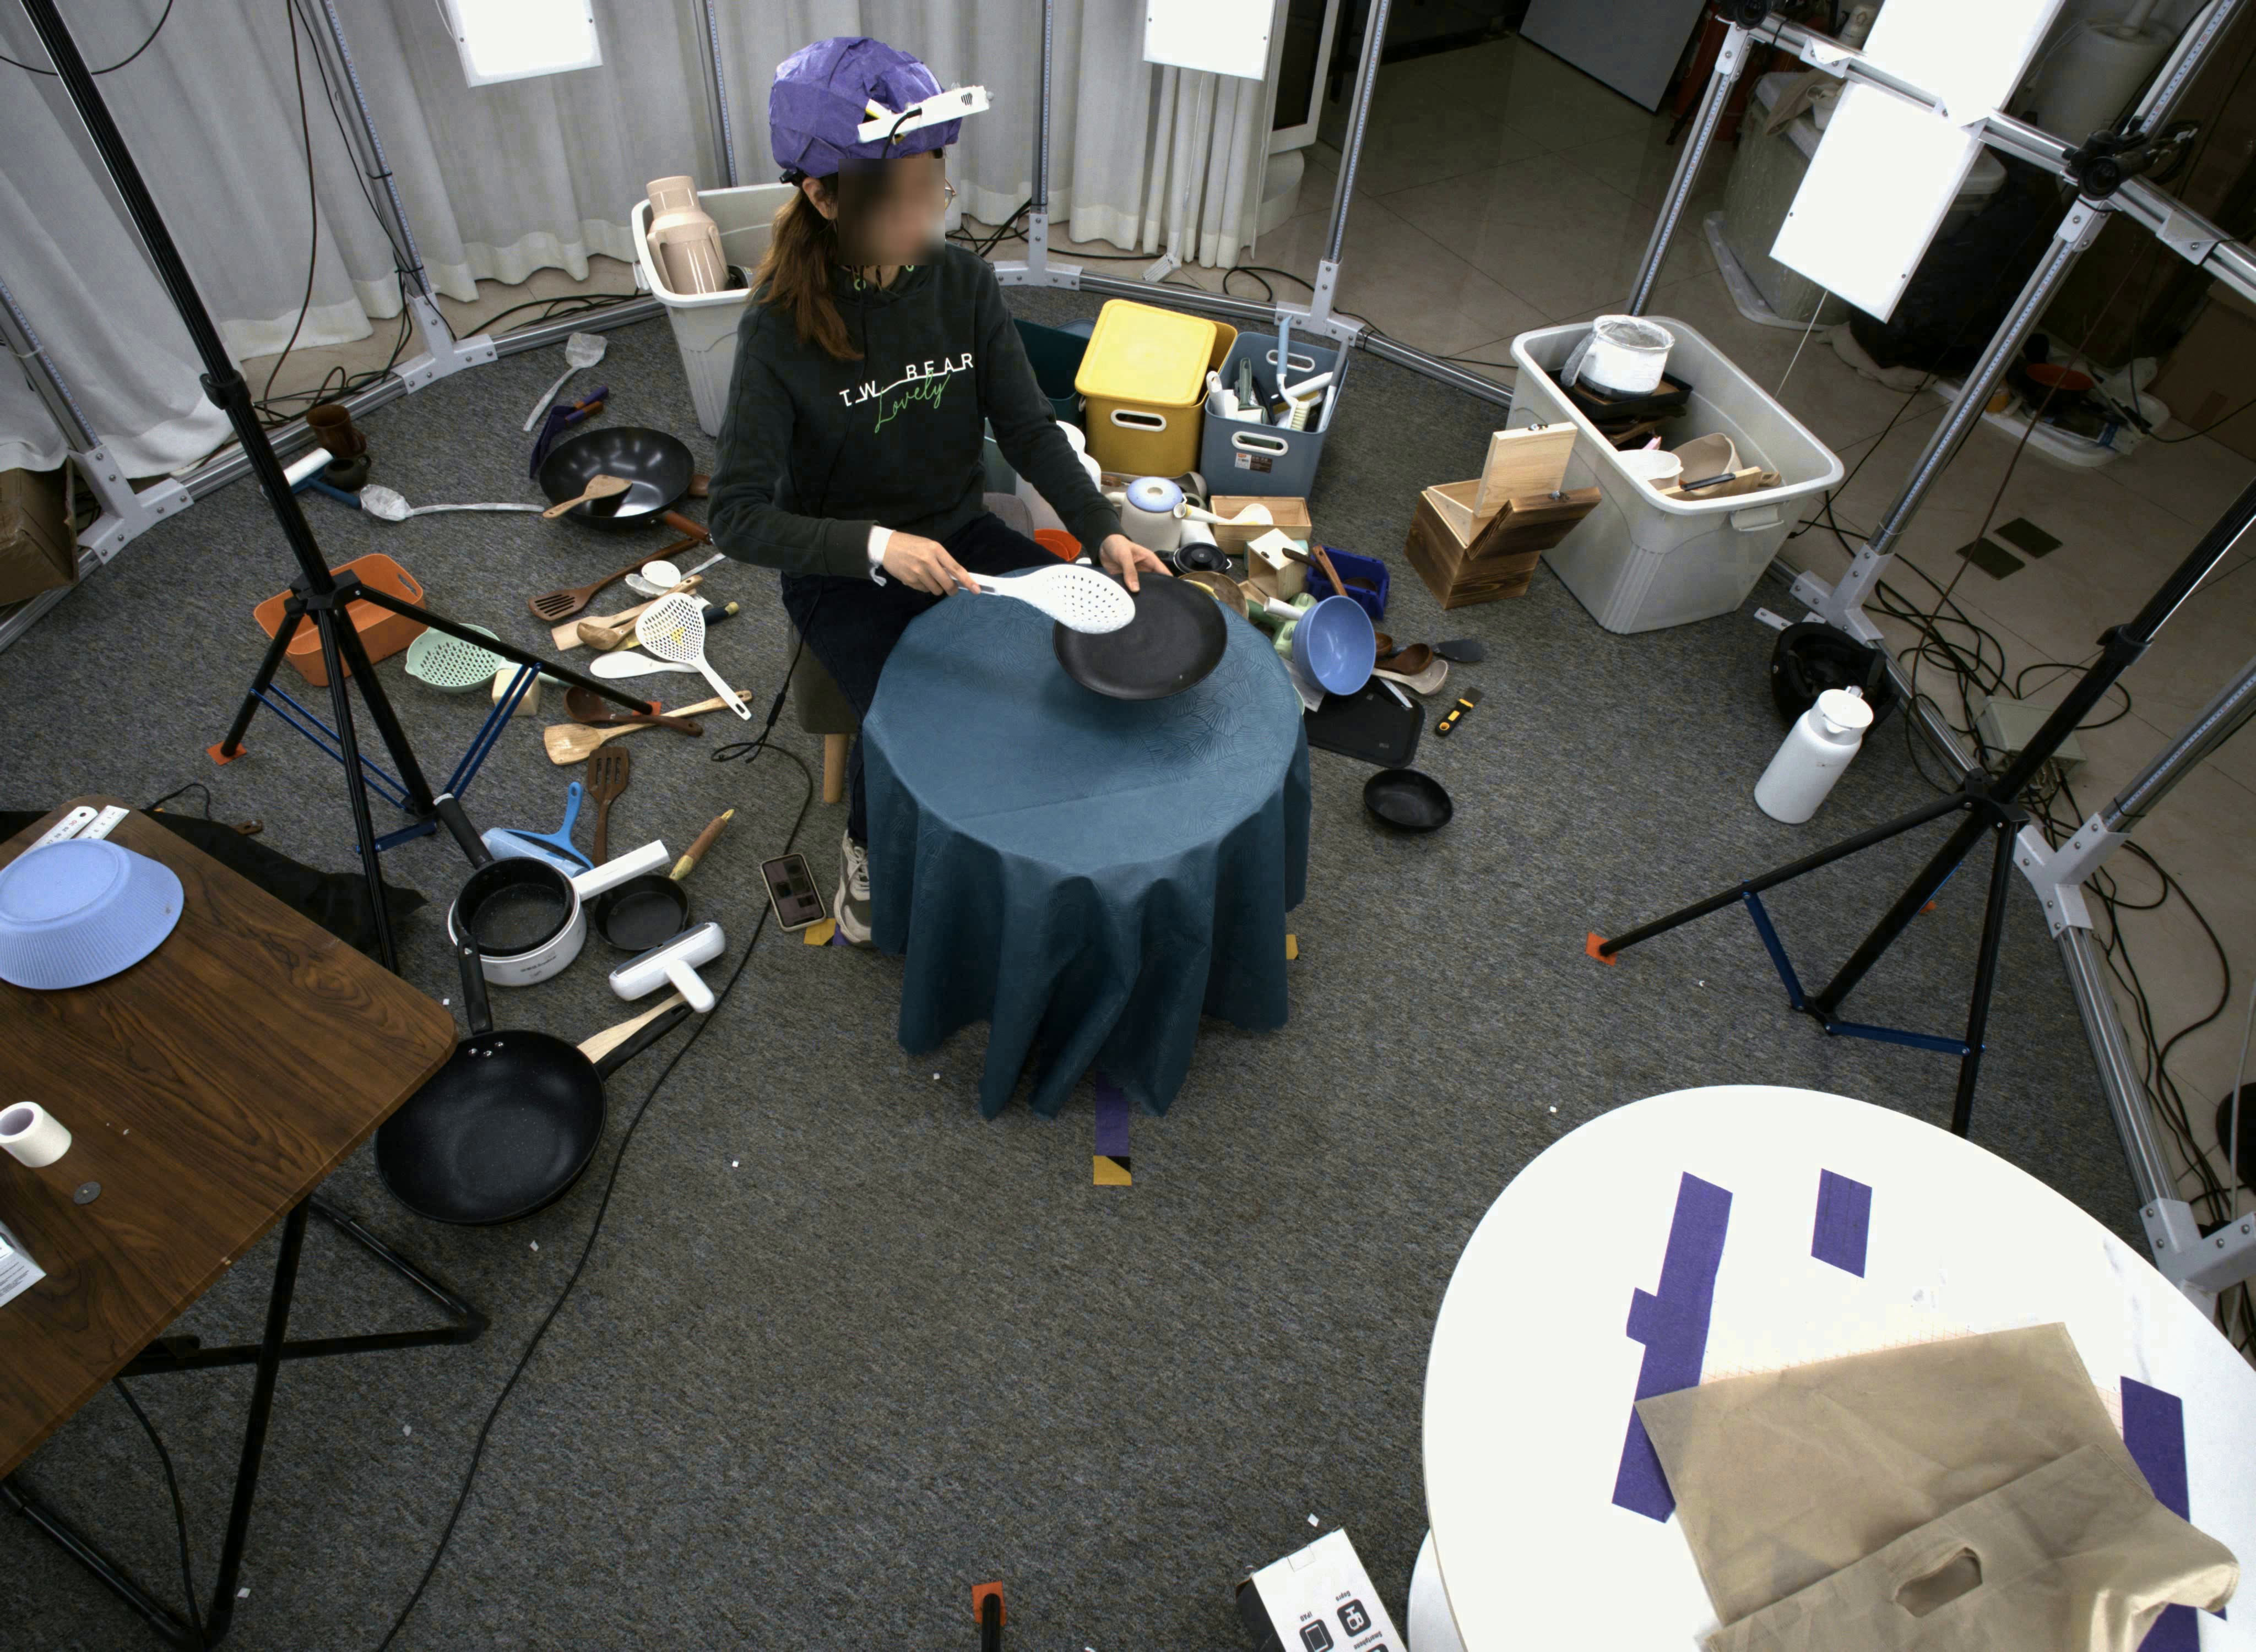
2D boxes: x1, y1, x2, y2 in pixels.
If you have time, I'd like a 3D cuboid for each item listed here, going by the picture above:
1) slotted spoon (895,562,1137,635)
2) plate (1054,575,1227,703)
[{"bbox_3d":[-0.156,-0.318,1.735,0.352,0.133,0.046,17,65,20],"label":"slotted spoon"},{"bbox_3d":[0.017,-0.262,1.813,0.244,0.023,0.250,-1,53,1],"label":"plate"}]
